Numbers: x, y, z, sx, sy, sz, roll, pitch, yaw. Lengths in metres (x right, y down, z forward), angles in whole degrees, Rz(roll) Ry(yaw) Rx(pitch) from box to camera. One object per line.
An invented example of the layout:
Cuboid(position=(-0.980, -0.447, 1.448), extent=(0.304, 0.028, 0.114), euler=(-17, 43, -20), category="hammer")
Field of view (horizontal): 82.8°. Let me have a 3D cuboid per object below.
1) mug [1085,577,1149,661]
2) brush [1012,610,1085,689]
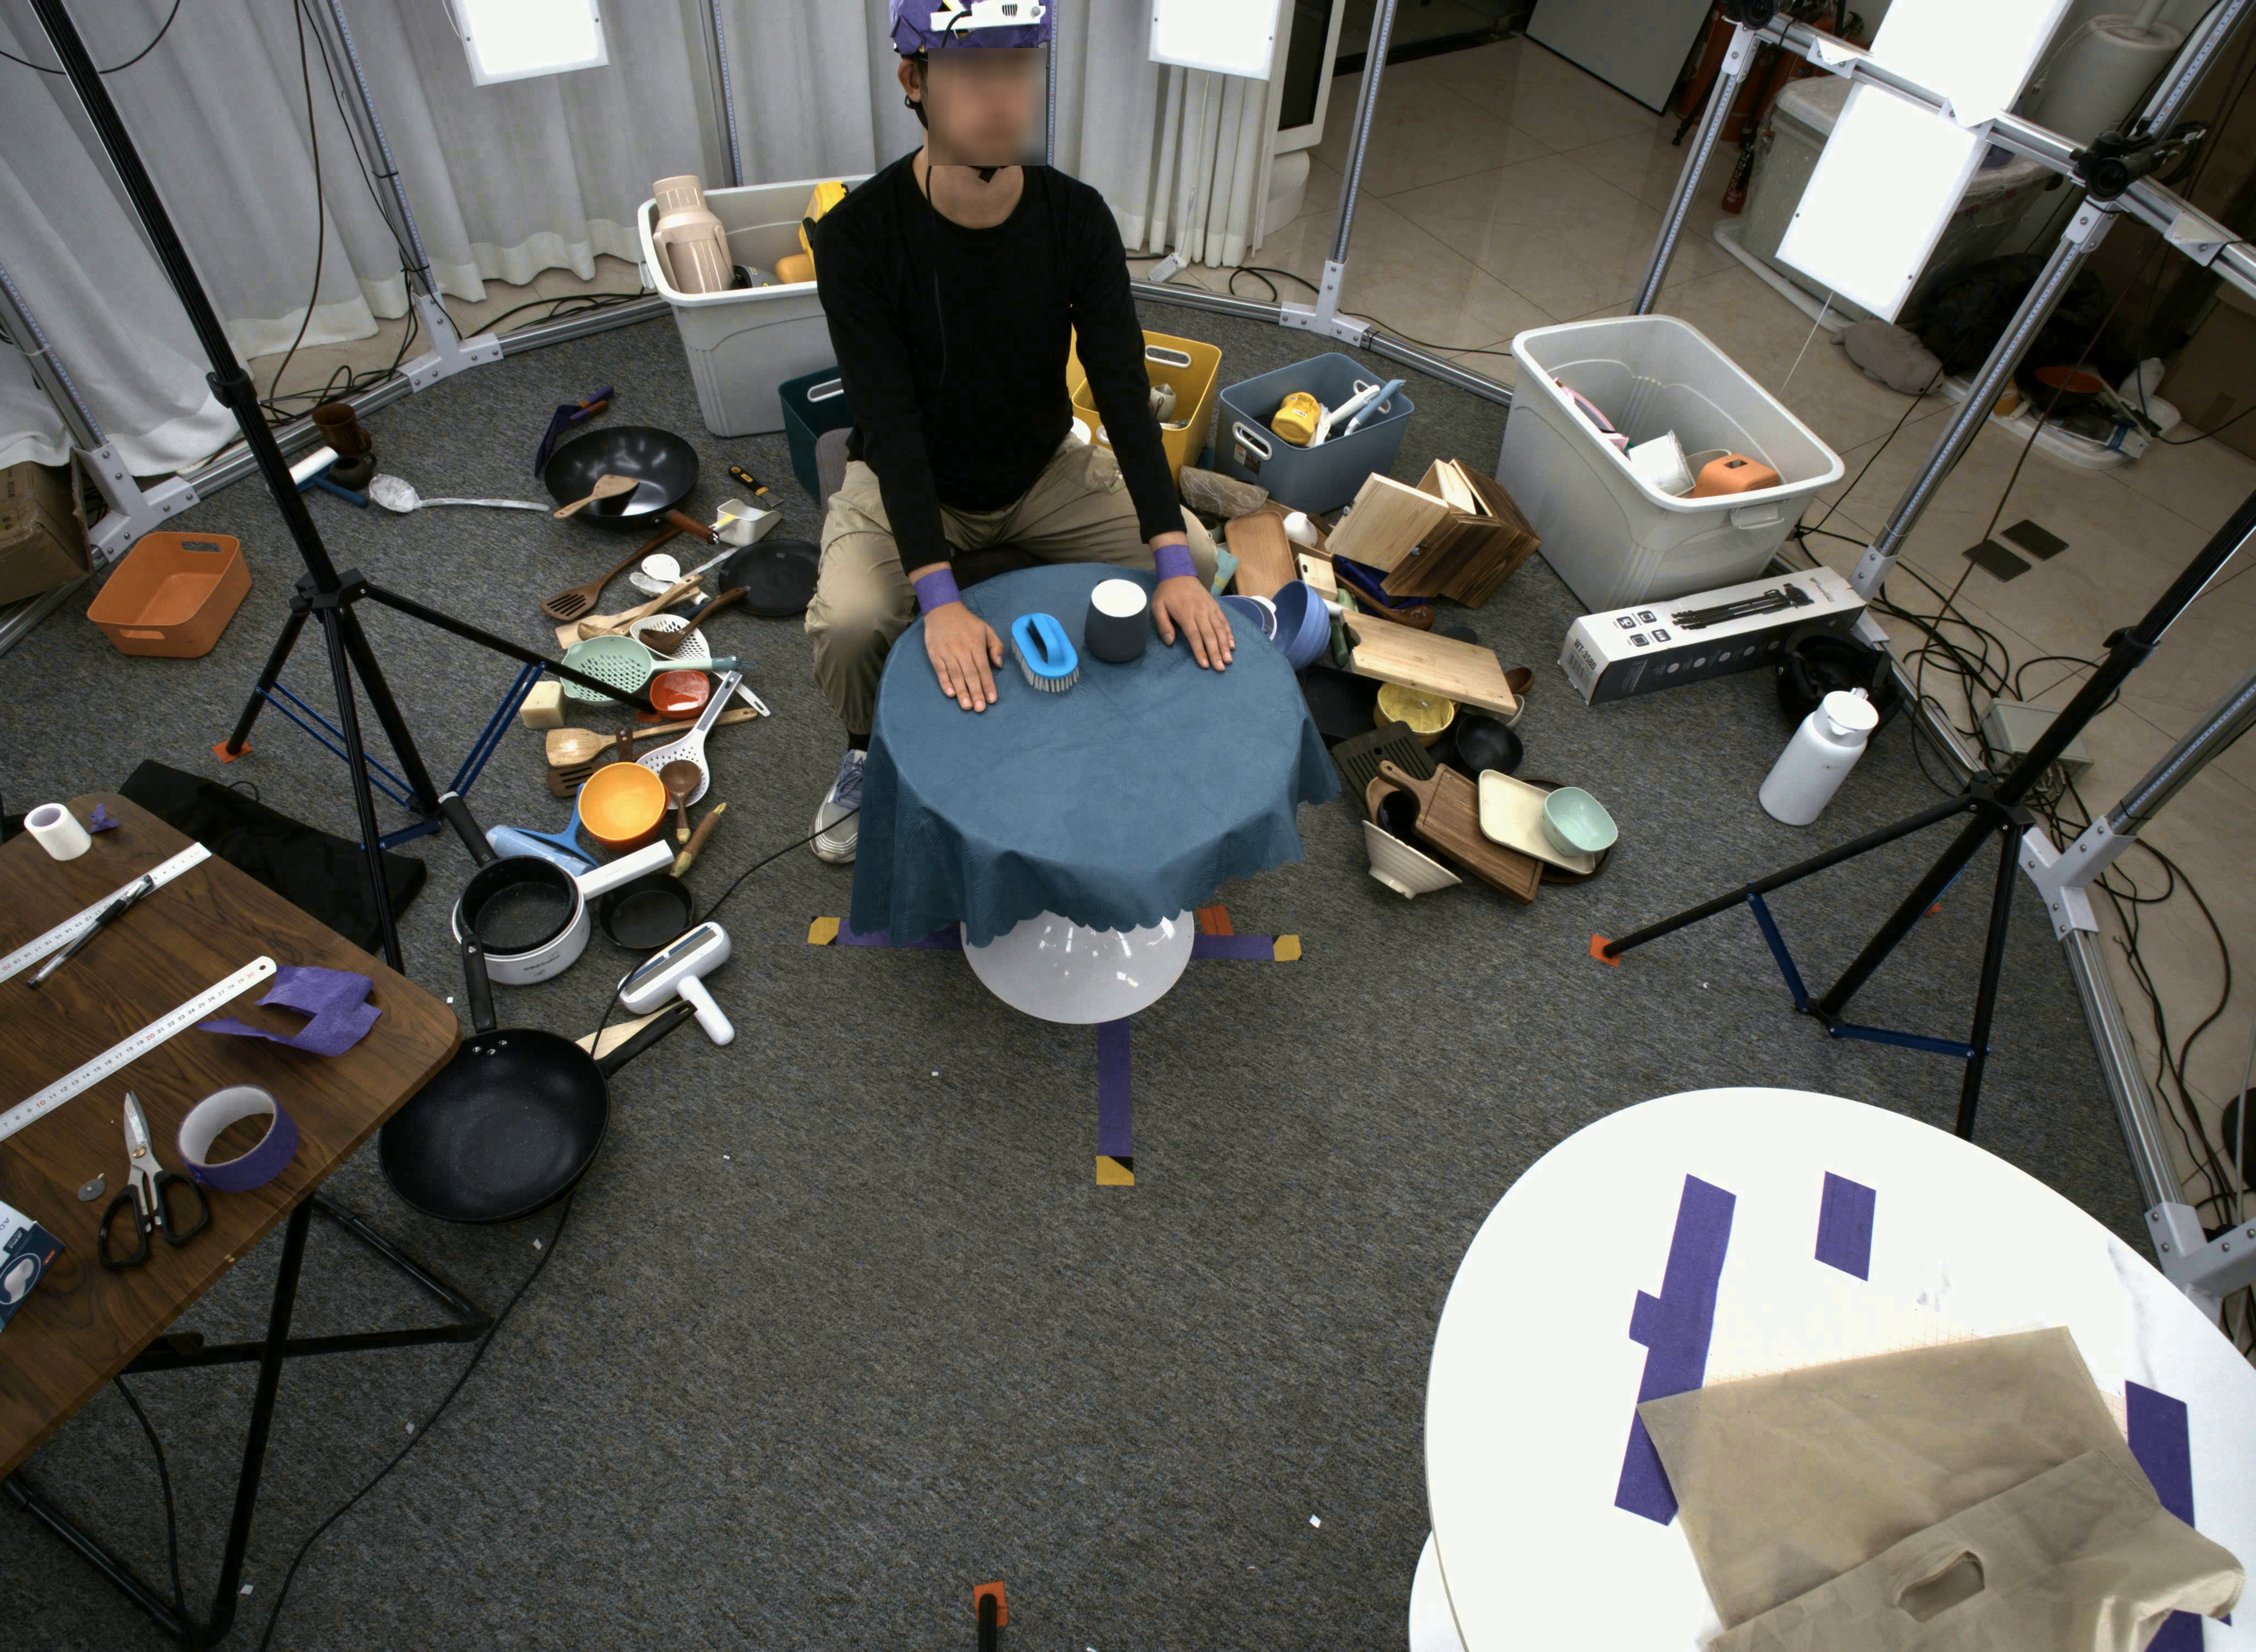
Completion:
Cuboid(position=(-0.019, -0.310, 1.873), extent=(0.093, 0.088, 0.126), euler=(-10, 52, -14), category="mug")
Cuboid(position=(-0.117, -0.264, 1.845), extent=(0.084, 0.062, 0.145), euler=(-17, 51, -12), category="brush")
